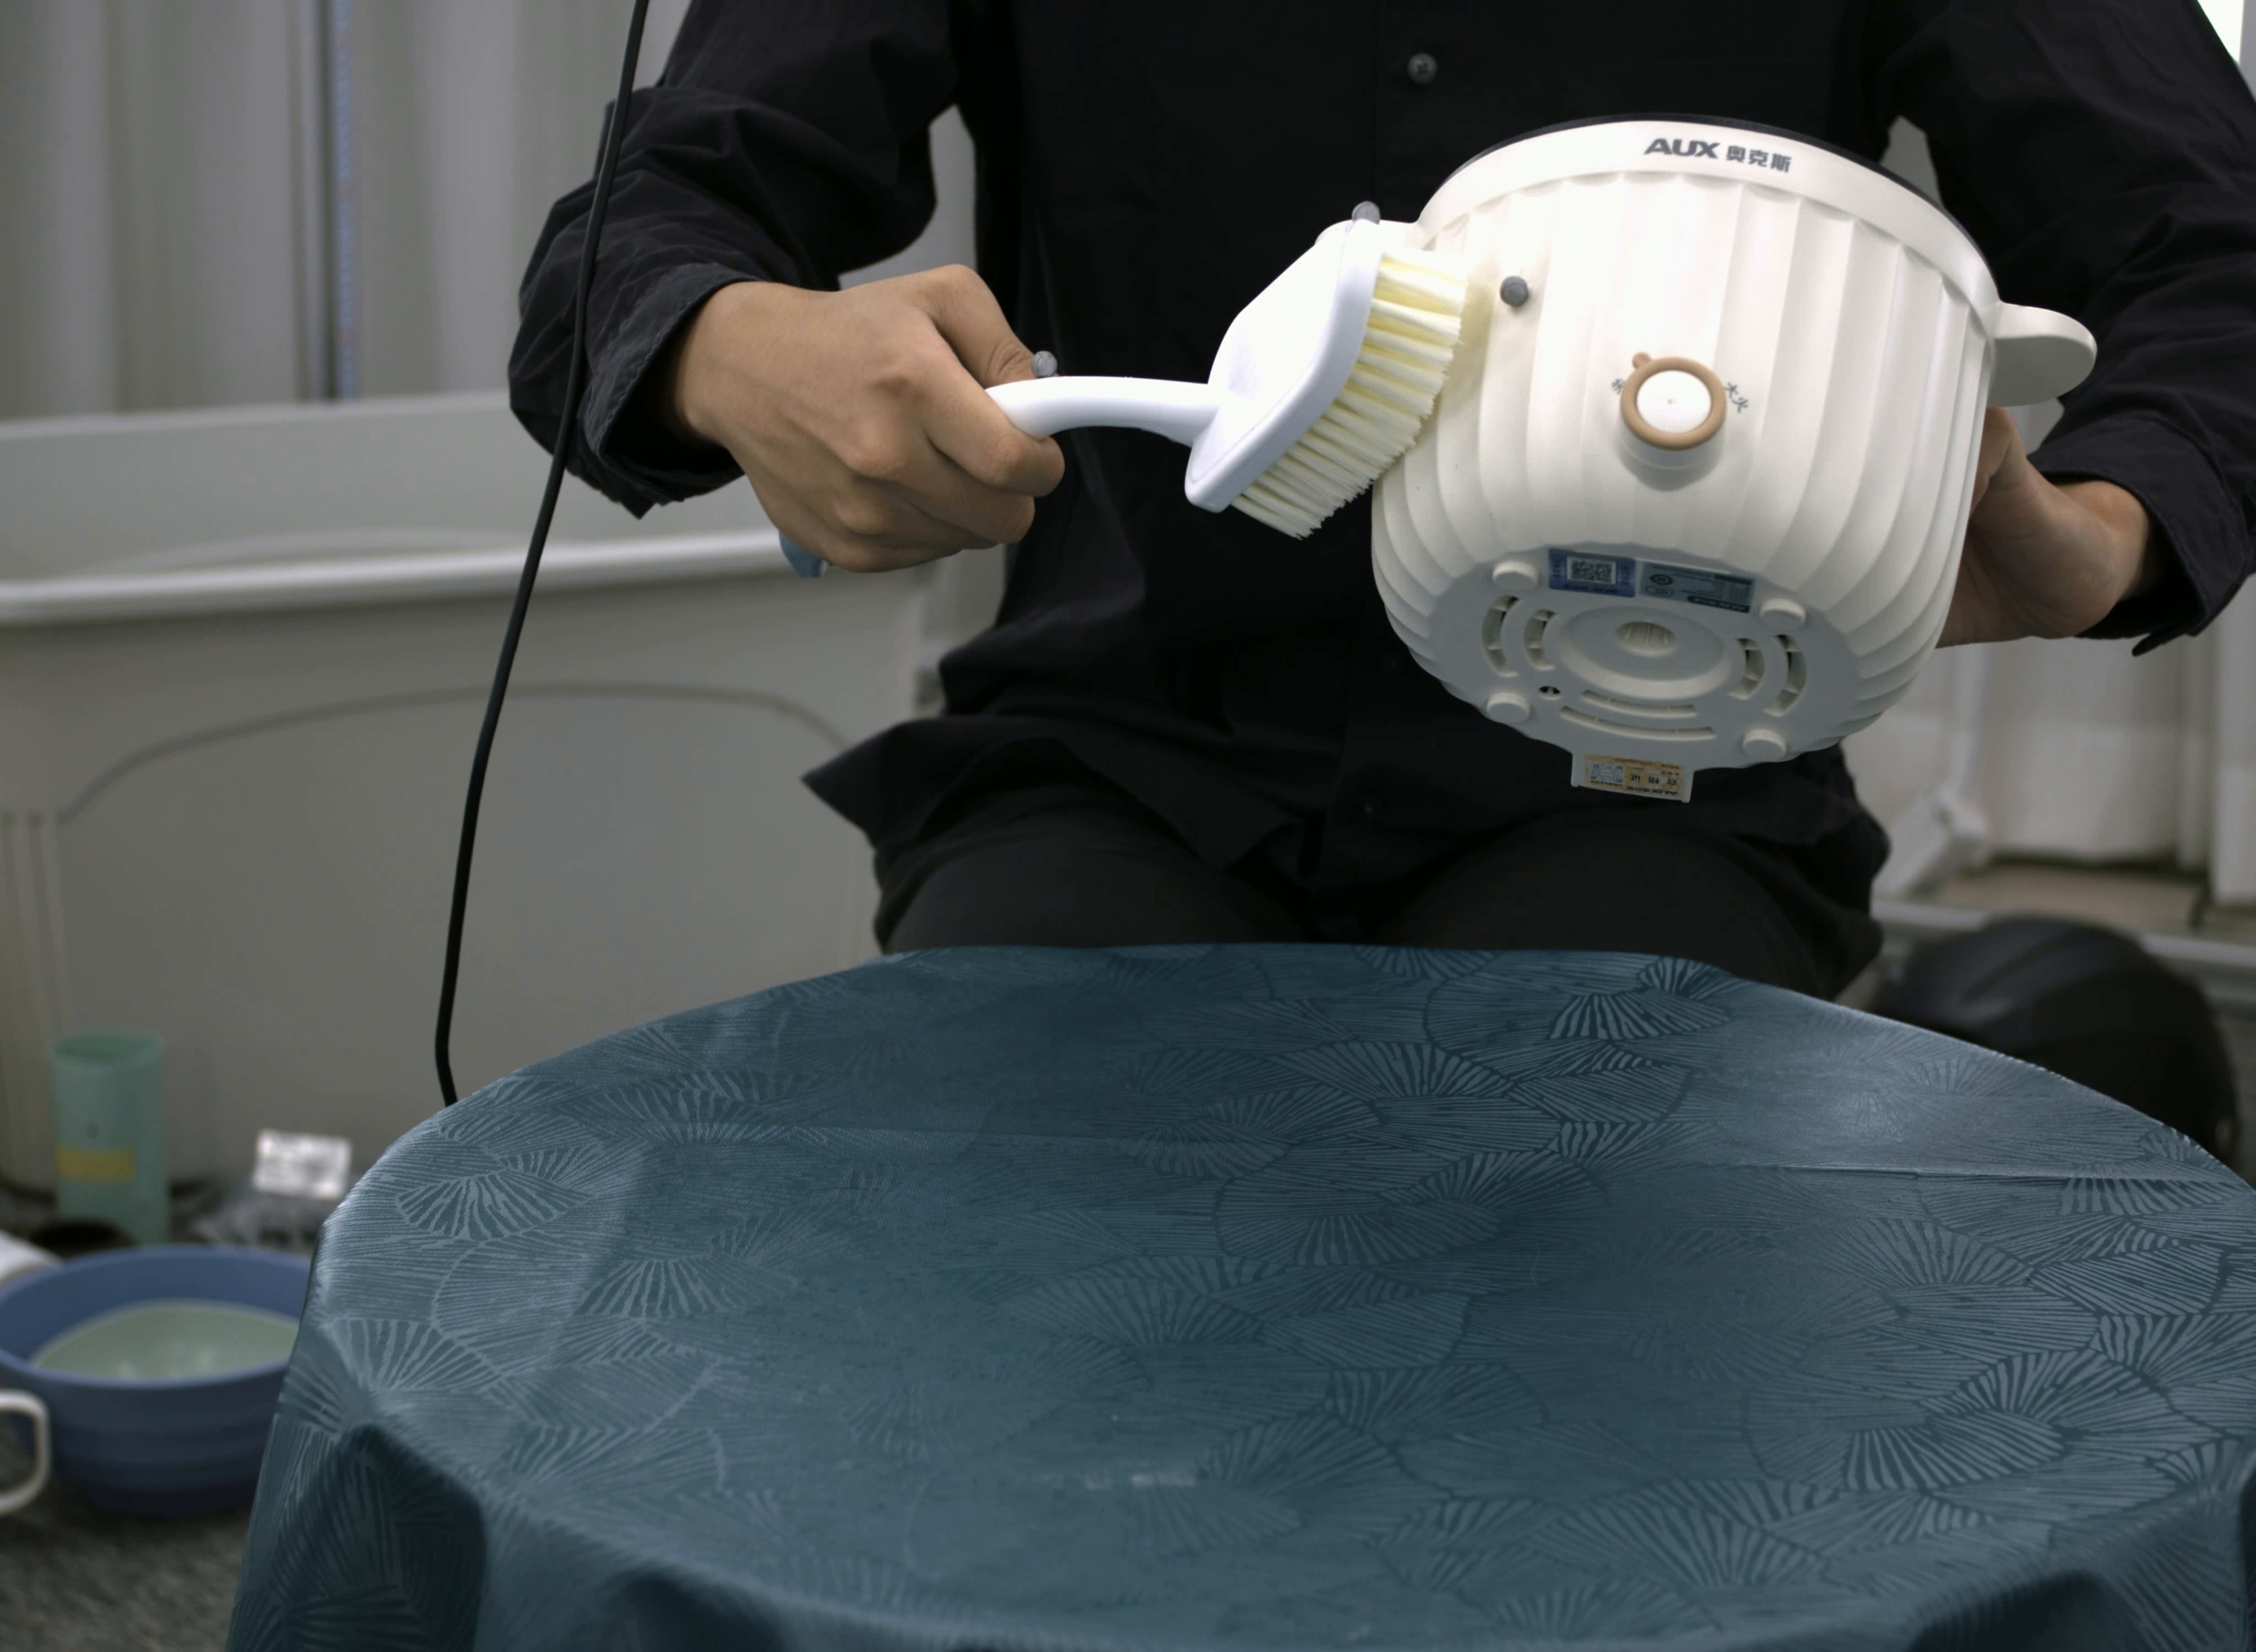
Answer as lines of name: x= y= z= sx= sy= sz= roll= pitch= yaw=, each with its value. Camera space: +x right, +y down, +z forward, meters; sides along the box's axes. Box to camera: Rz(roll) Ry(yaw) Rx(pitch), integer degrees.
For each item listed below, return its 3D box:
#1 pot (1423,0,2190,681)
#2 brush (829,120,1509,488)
pot: x=0.199 y=-0.147 z=1.601 sx=0.239 sy=0.192 sz=0.142 roll=8 pitch=60 yaw=4
brush: x=0.023 y=-0.152 z=1.672 sx=0.083 sy=0.085 sz=0.323 roll=-41 pitch=12 yaw=-36
